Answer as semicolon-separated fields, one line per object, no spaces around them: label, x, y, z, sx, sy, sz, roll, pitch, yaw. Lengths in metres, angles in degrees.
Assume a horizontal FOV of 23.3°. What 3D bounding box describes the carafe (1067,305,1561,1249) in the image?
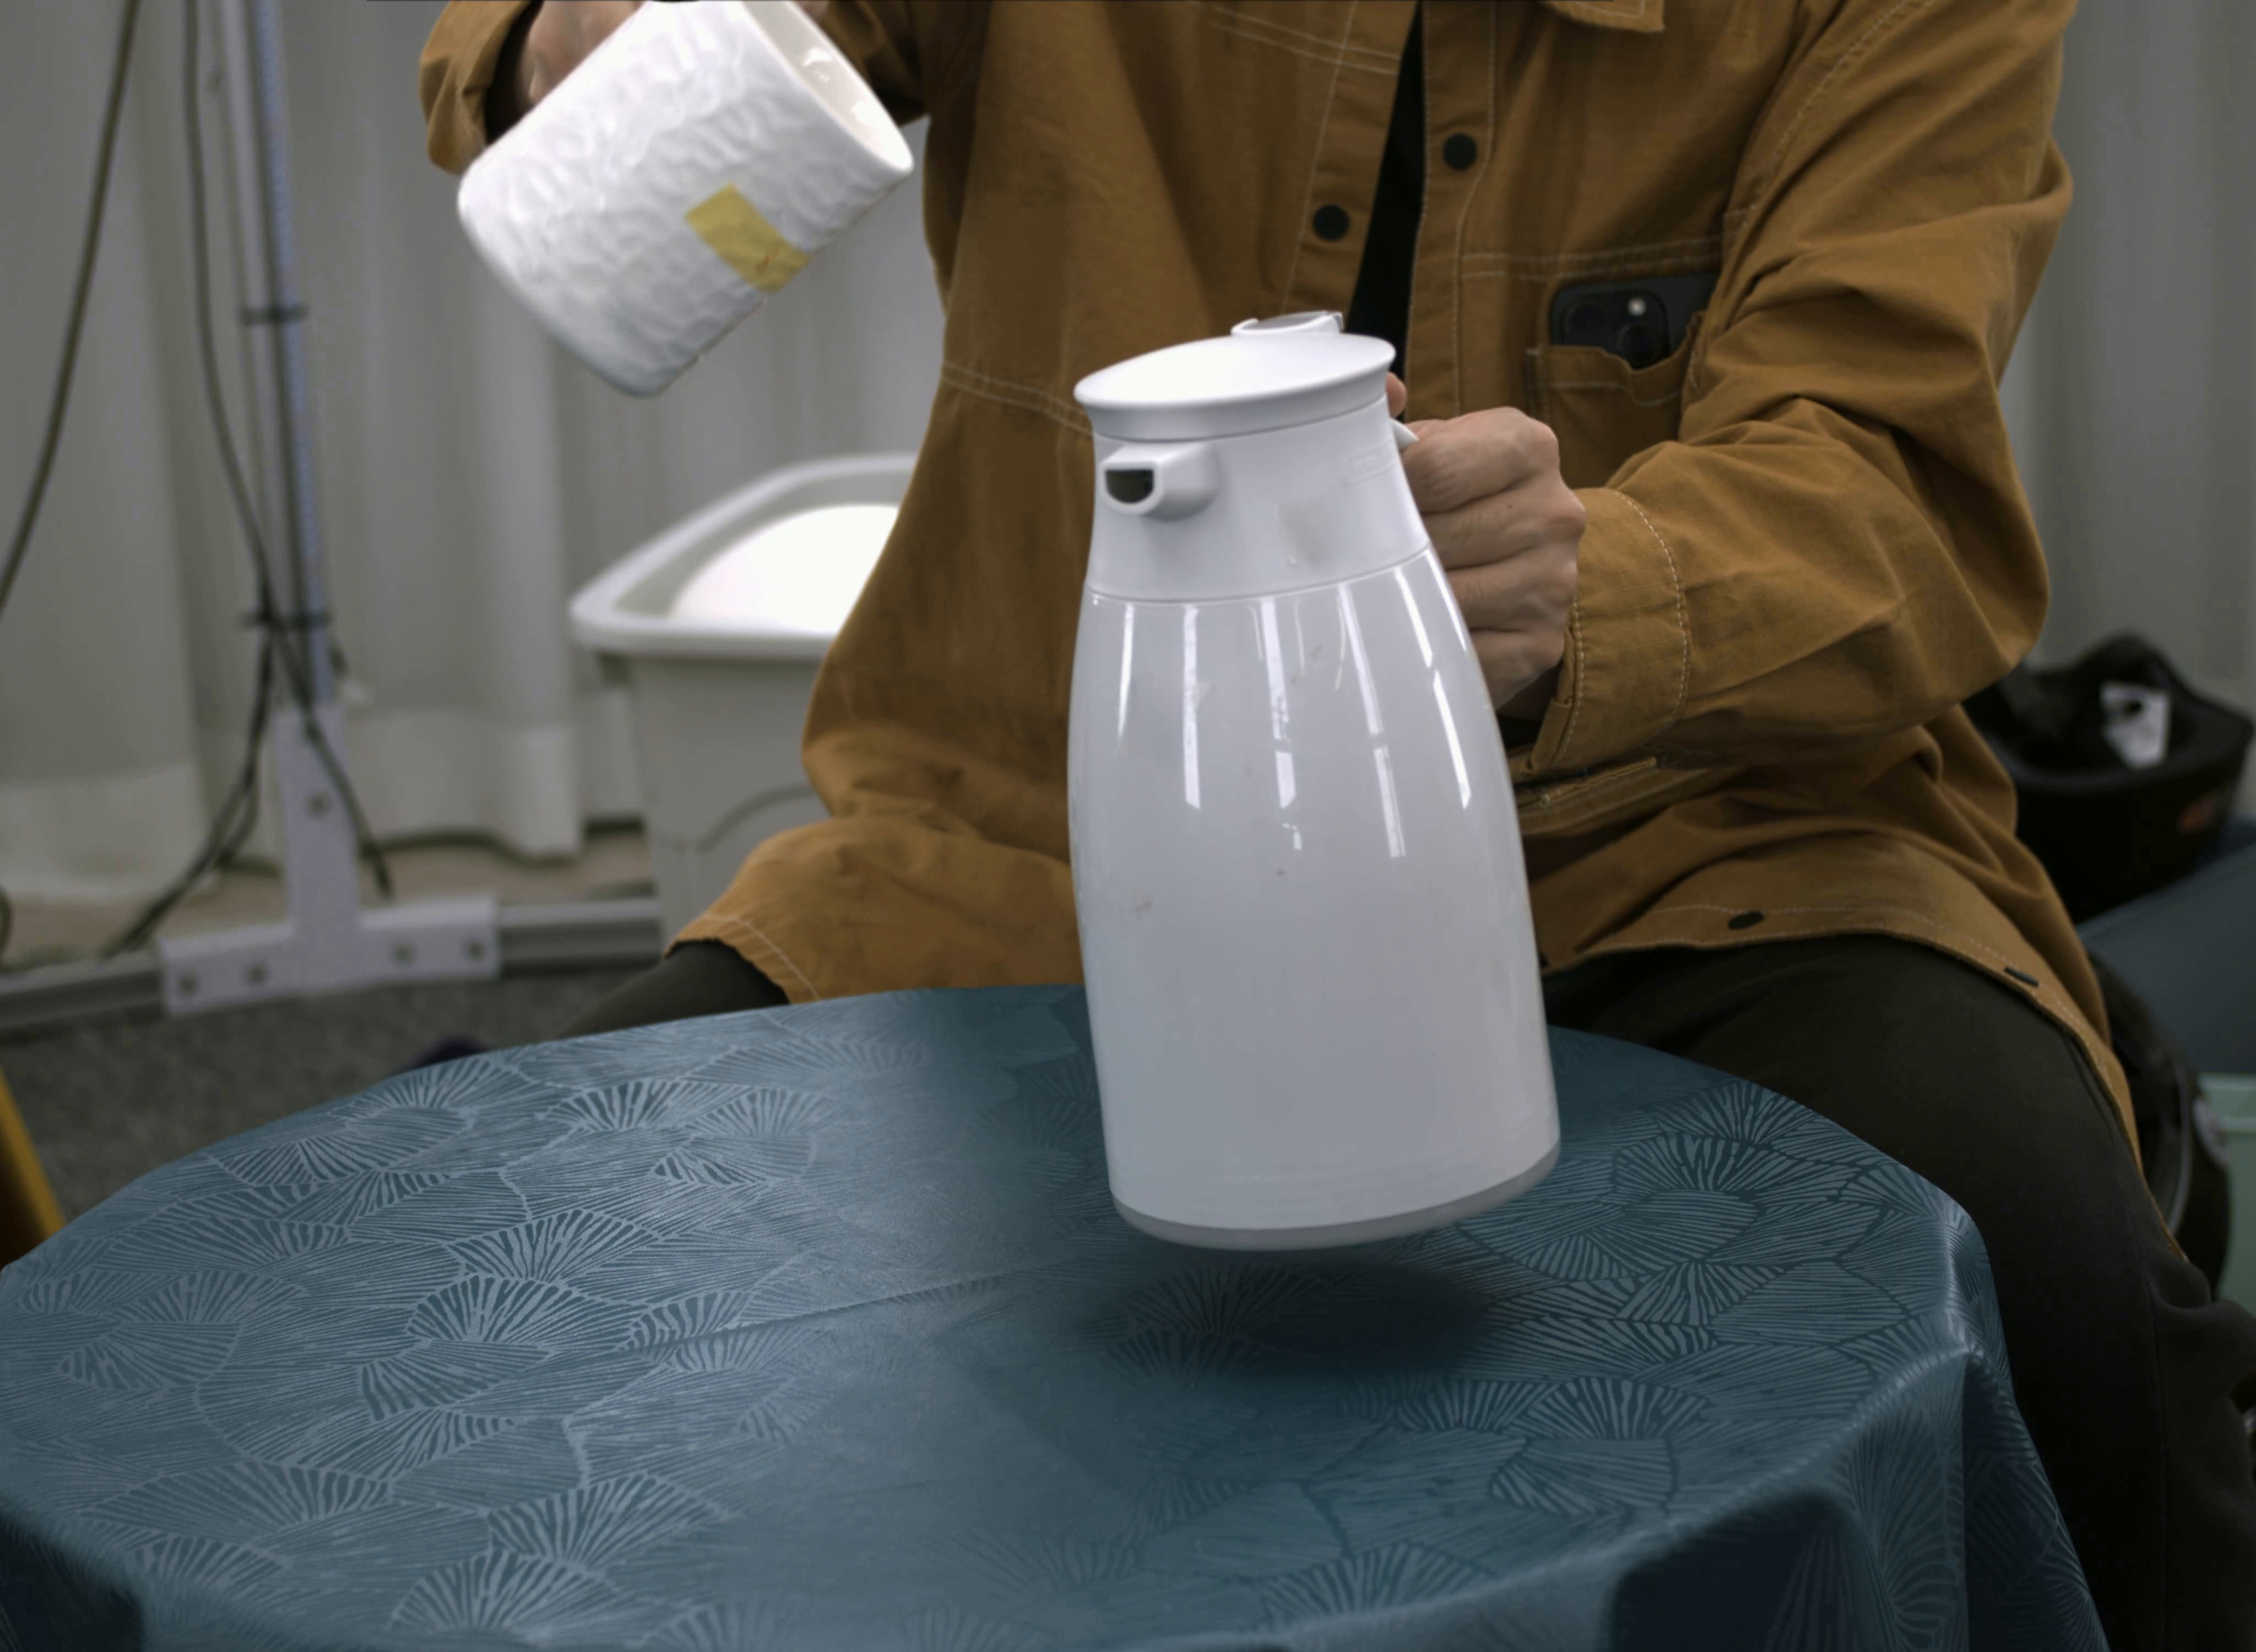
carafe;0.053;-0.022;1.580;0.133;0.248;0.168;-1;14;31

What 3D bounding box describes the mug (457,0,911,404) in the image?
mug;-0.130;-0.189;1.555;0.101;0.084;0.120;-42;31;11
